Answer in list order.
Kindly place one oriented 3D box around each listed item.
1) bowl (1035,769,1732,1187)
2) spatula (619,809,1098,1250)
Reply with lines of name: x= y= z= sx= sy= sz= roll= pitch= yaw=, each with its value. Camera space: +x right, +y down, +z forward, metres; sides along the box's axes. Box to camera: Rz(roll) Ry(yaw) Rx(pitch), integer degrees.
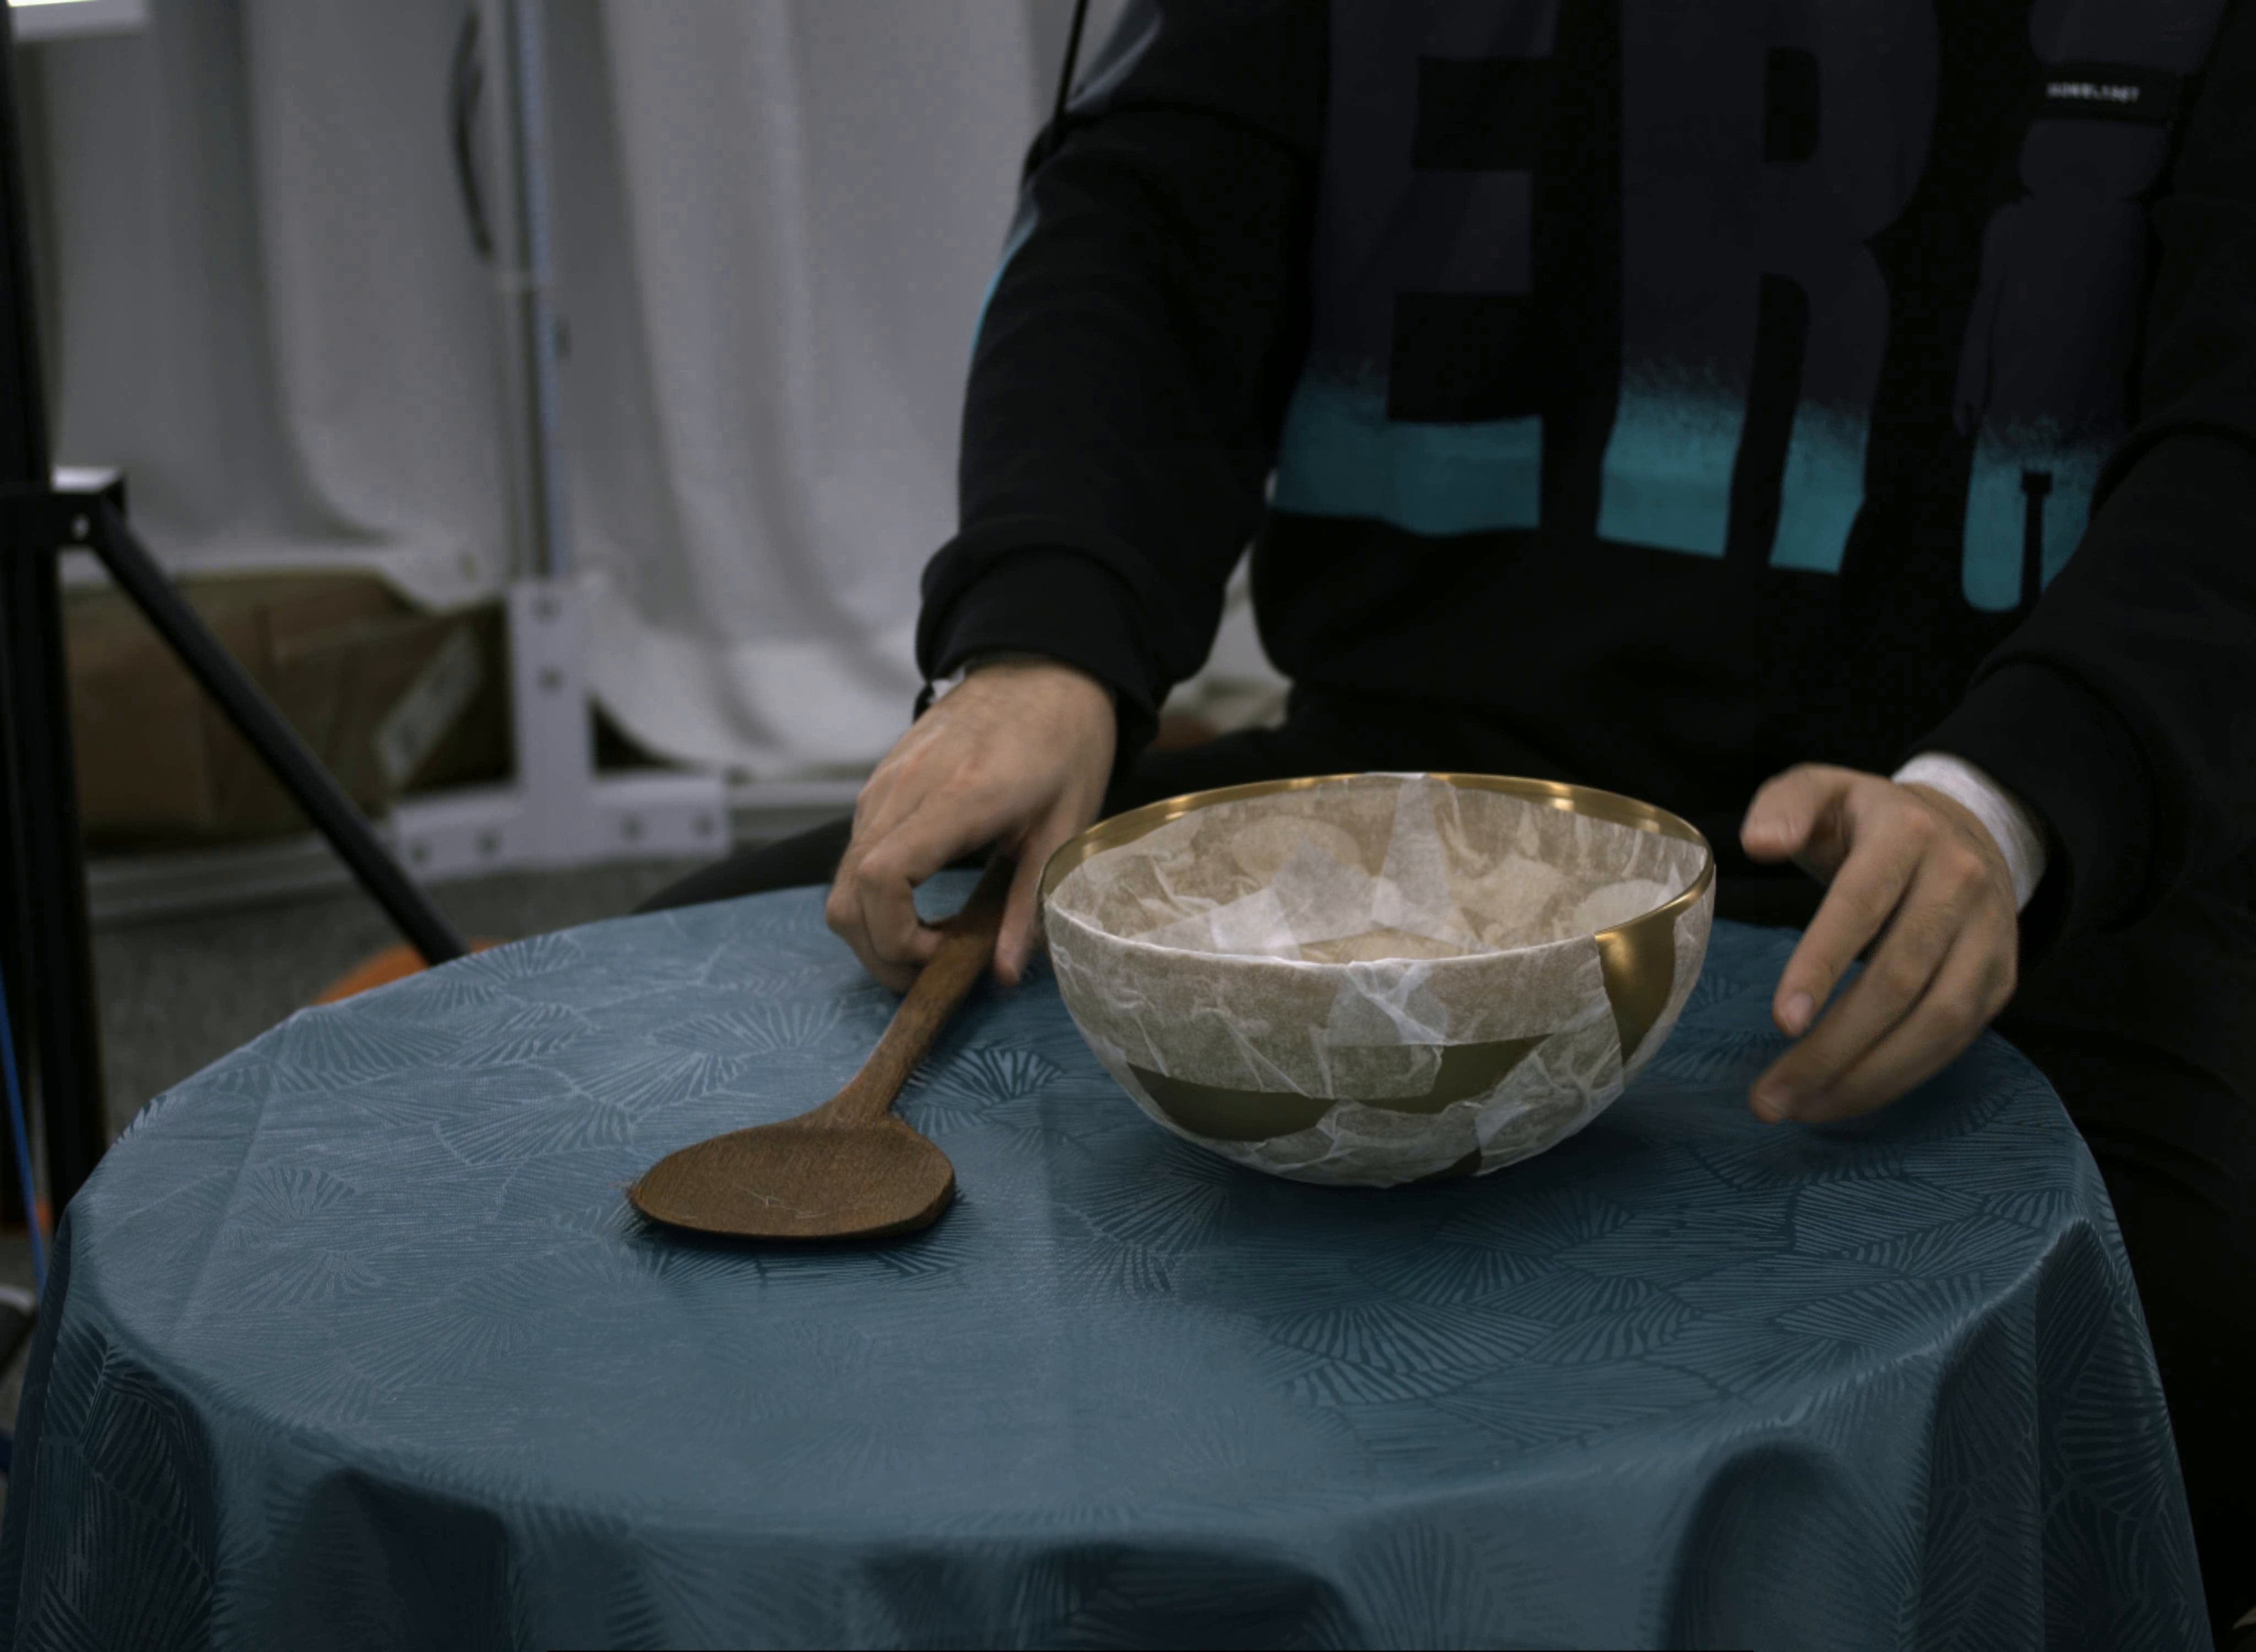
bowl: x=0.077 y=0.053 z=1.571 sx=0.213 sy=0.094 sz=0.216 roll=-3 pitch=14 yaw=-1
spatula: x=-0.063 y=0.058 z=1.697 sx=0.097 sy=0.016 sz=0.383 roll=2 pitch=20 yaw=14
